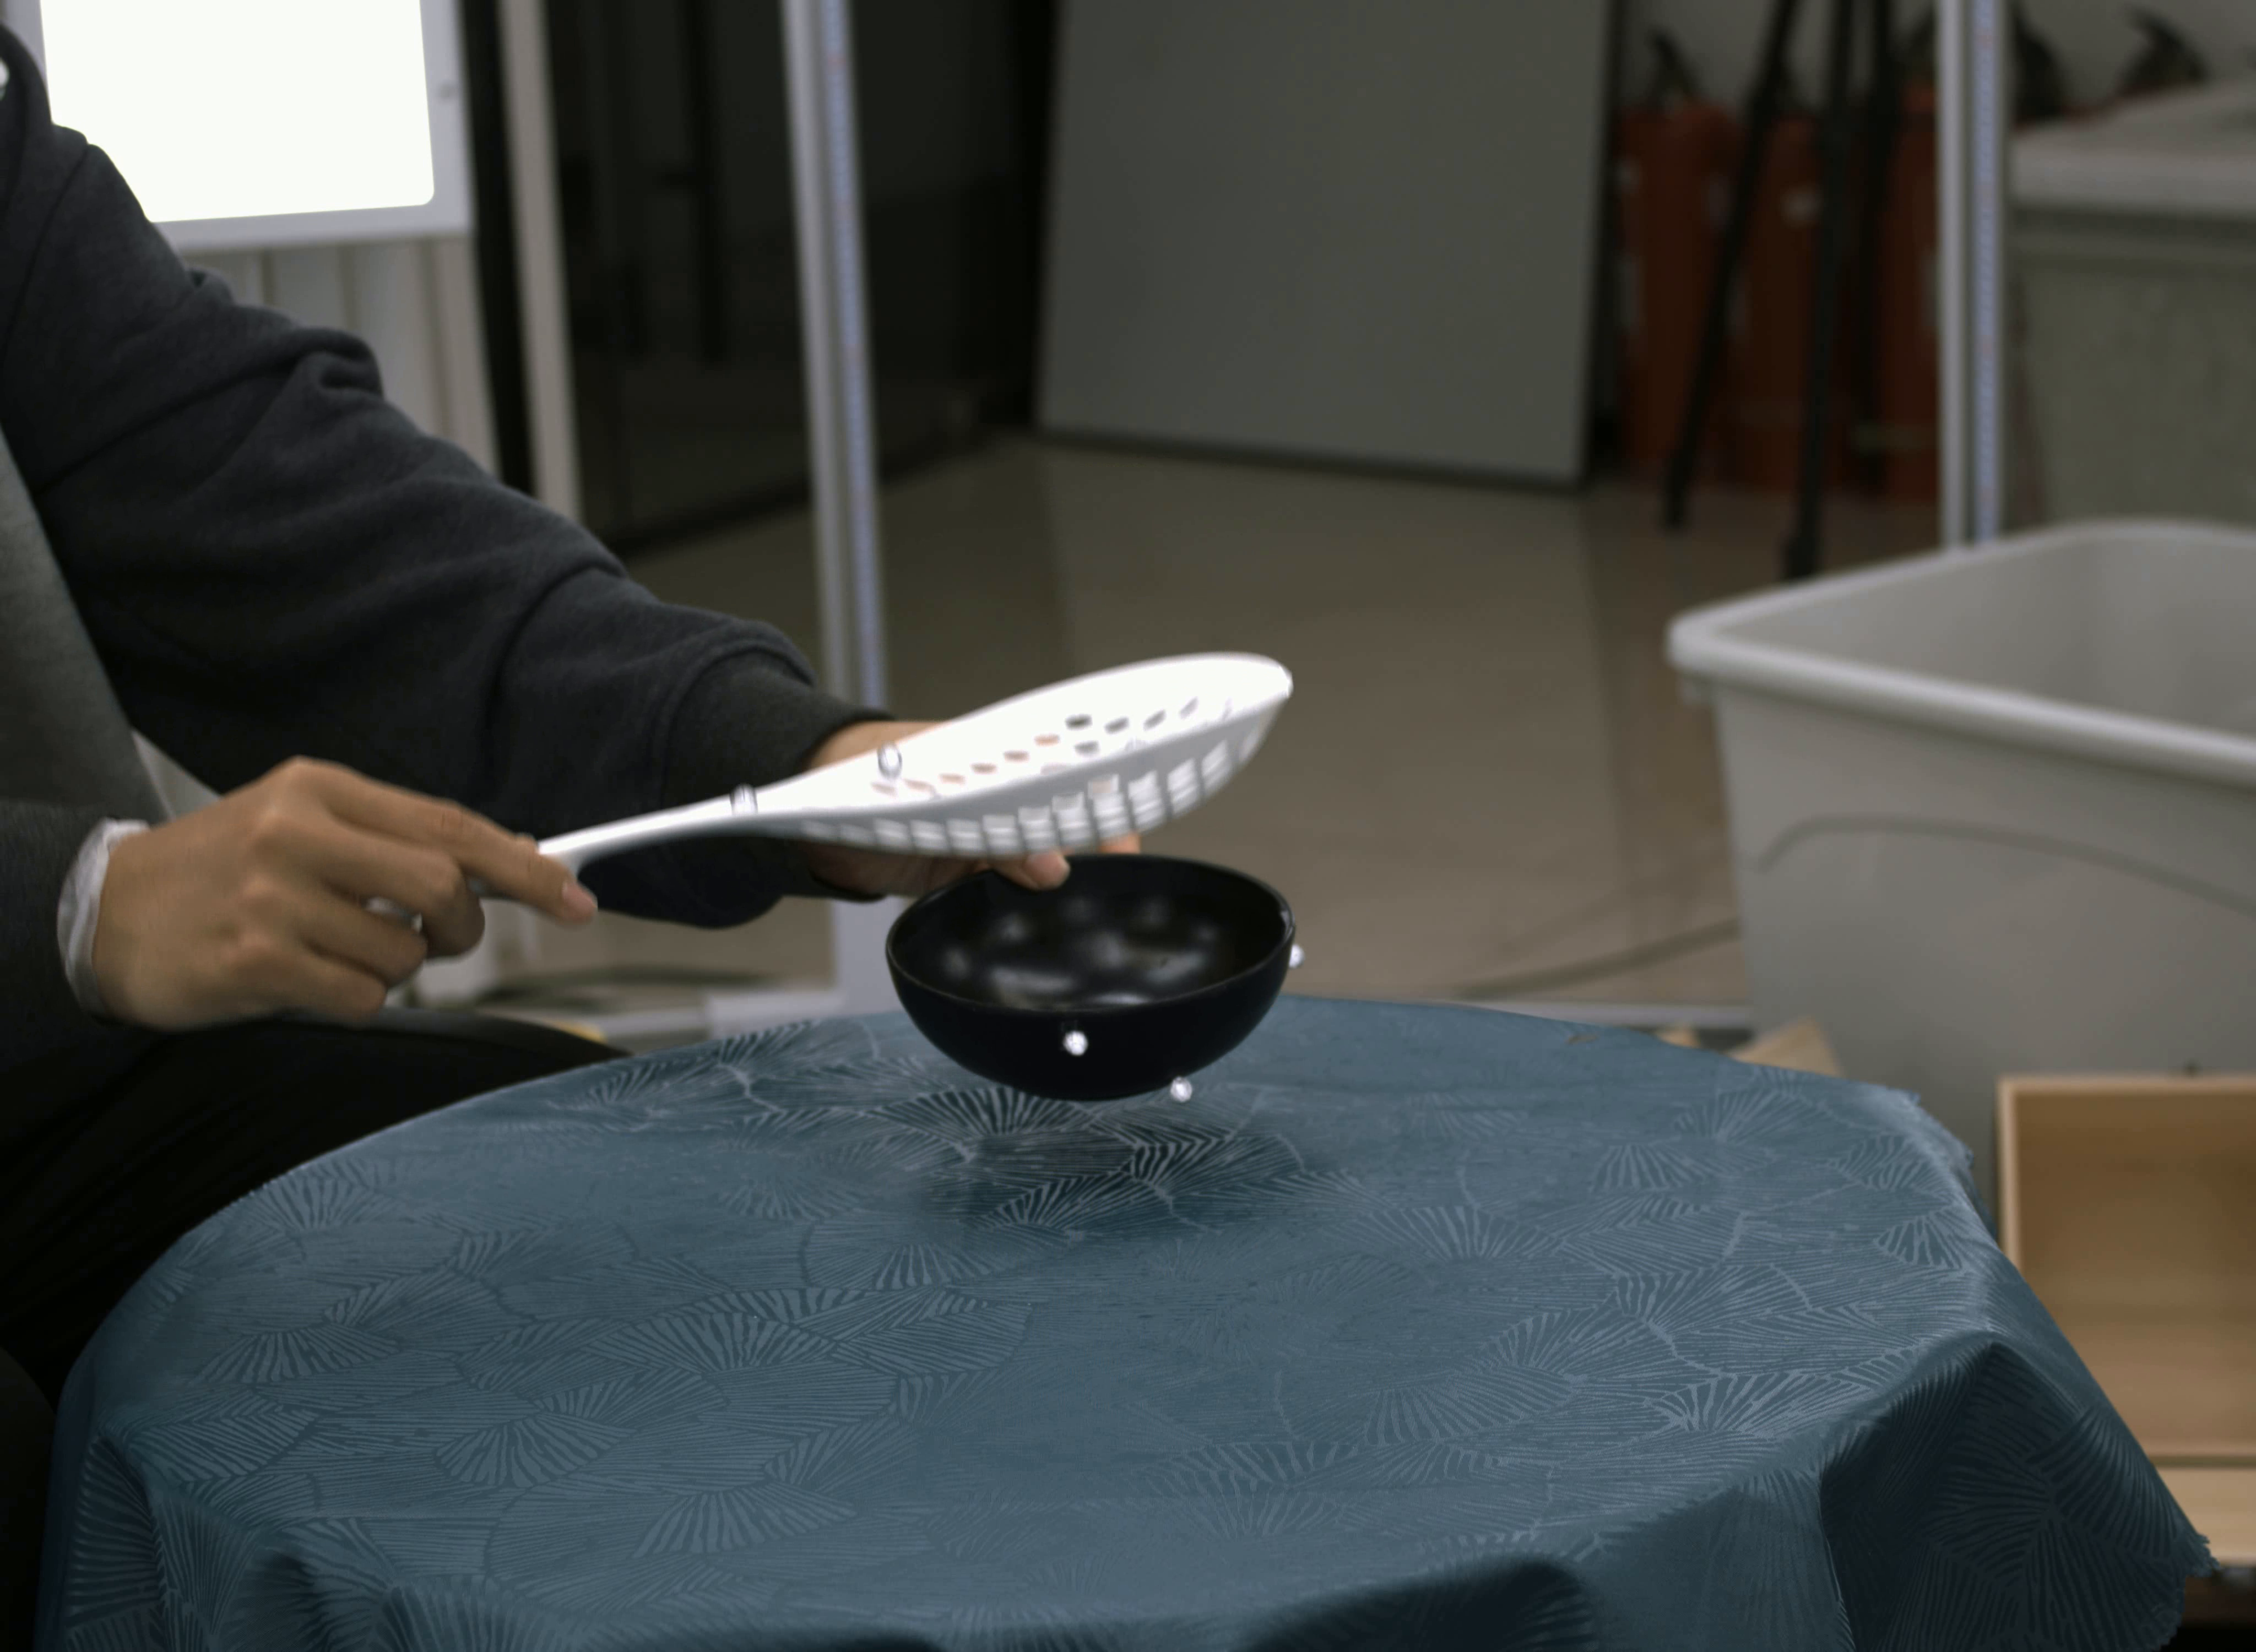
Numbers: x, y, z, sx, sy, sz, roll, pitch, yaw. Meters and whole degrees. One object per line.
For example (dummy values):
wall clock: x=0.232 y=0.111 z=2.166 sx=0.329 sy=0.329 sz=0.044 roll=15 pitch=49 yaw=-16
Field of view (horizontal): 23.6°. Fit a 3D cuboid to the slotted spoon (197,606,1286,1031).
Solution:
slotted spoon: x=-0.116 y=-0.001 z=1.634 sx=0.343 sy=0.051 sz=0.137 roll=-13 pitch=12 yaw=-3
